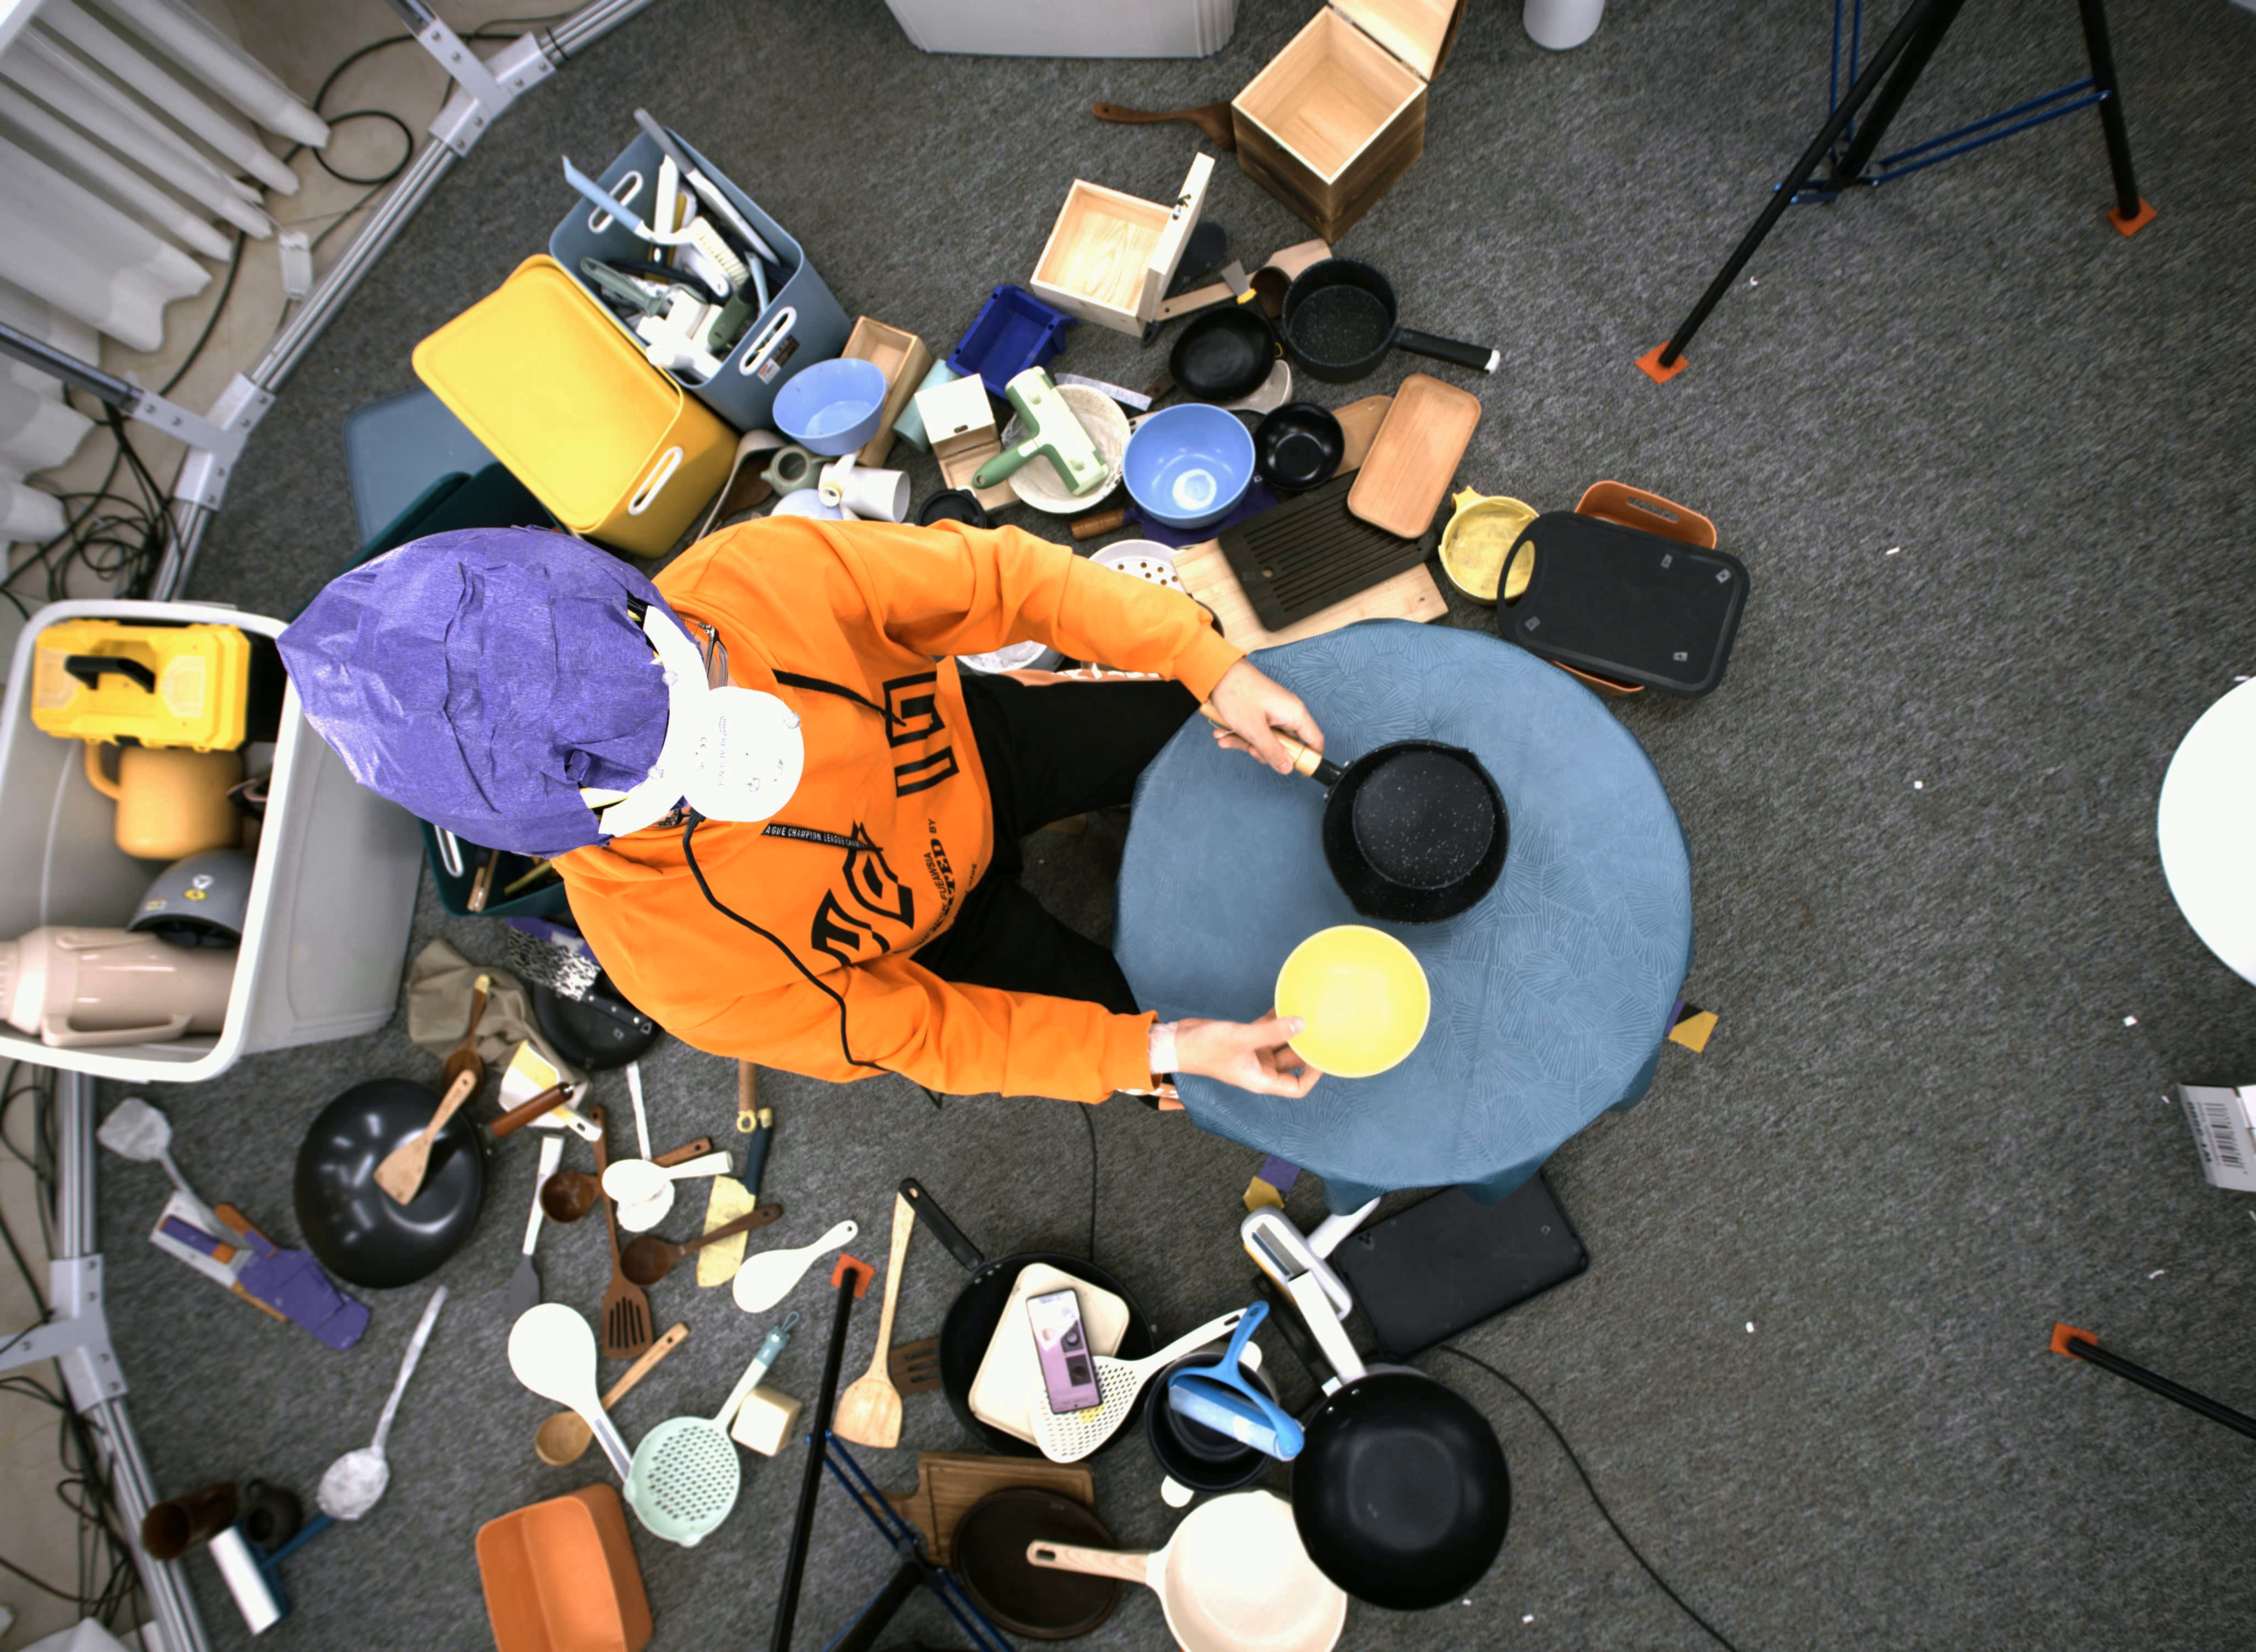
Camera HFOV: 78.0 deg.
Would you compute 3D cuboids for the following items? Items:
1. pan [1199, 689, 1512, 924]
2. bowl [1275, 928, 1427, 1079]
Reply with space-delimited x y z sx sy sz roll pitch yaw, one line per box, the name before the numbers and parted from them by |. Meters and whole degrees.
pan | 0.226 -0.042 1.395 0.342 0.106 0.211 33 112 8
bowl | 0.214 0.175 1.337 0.146 0.061 0.143 -2 75 7
